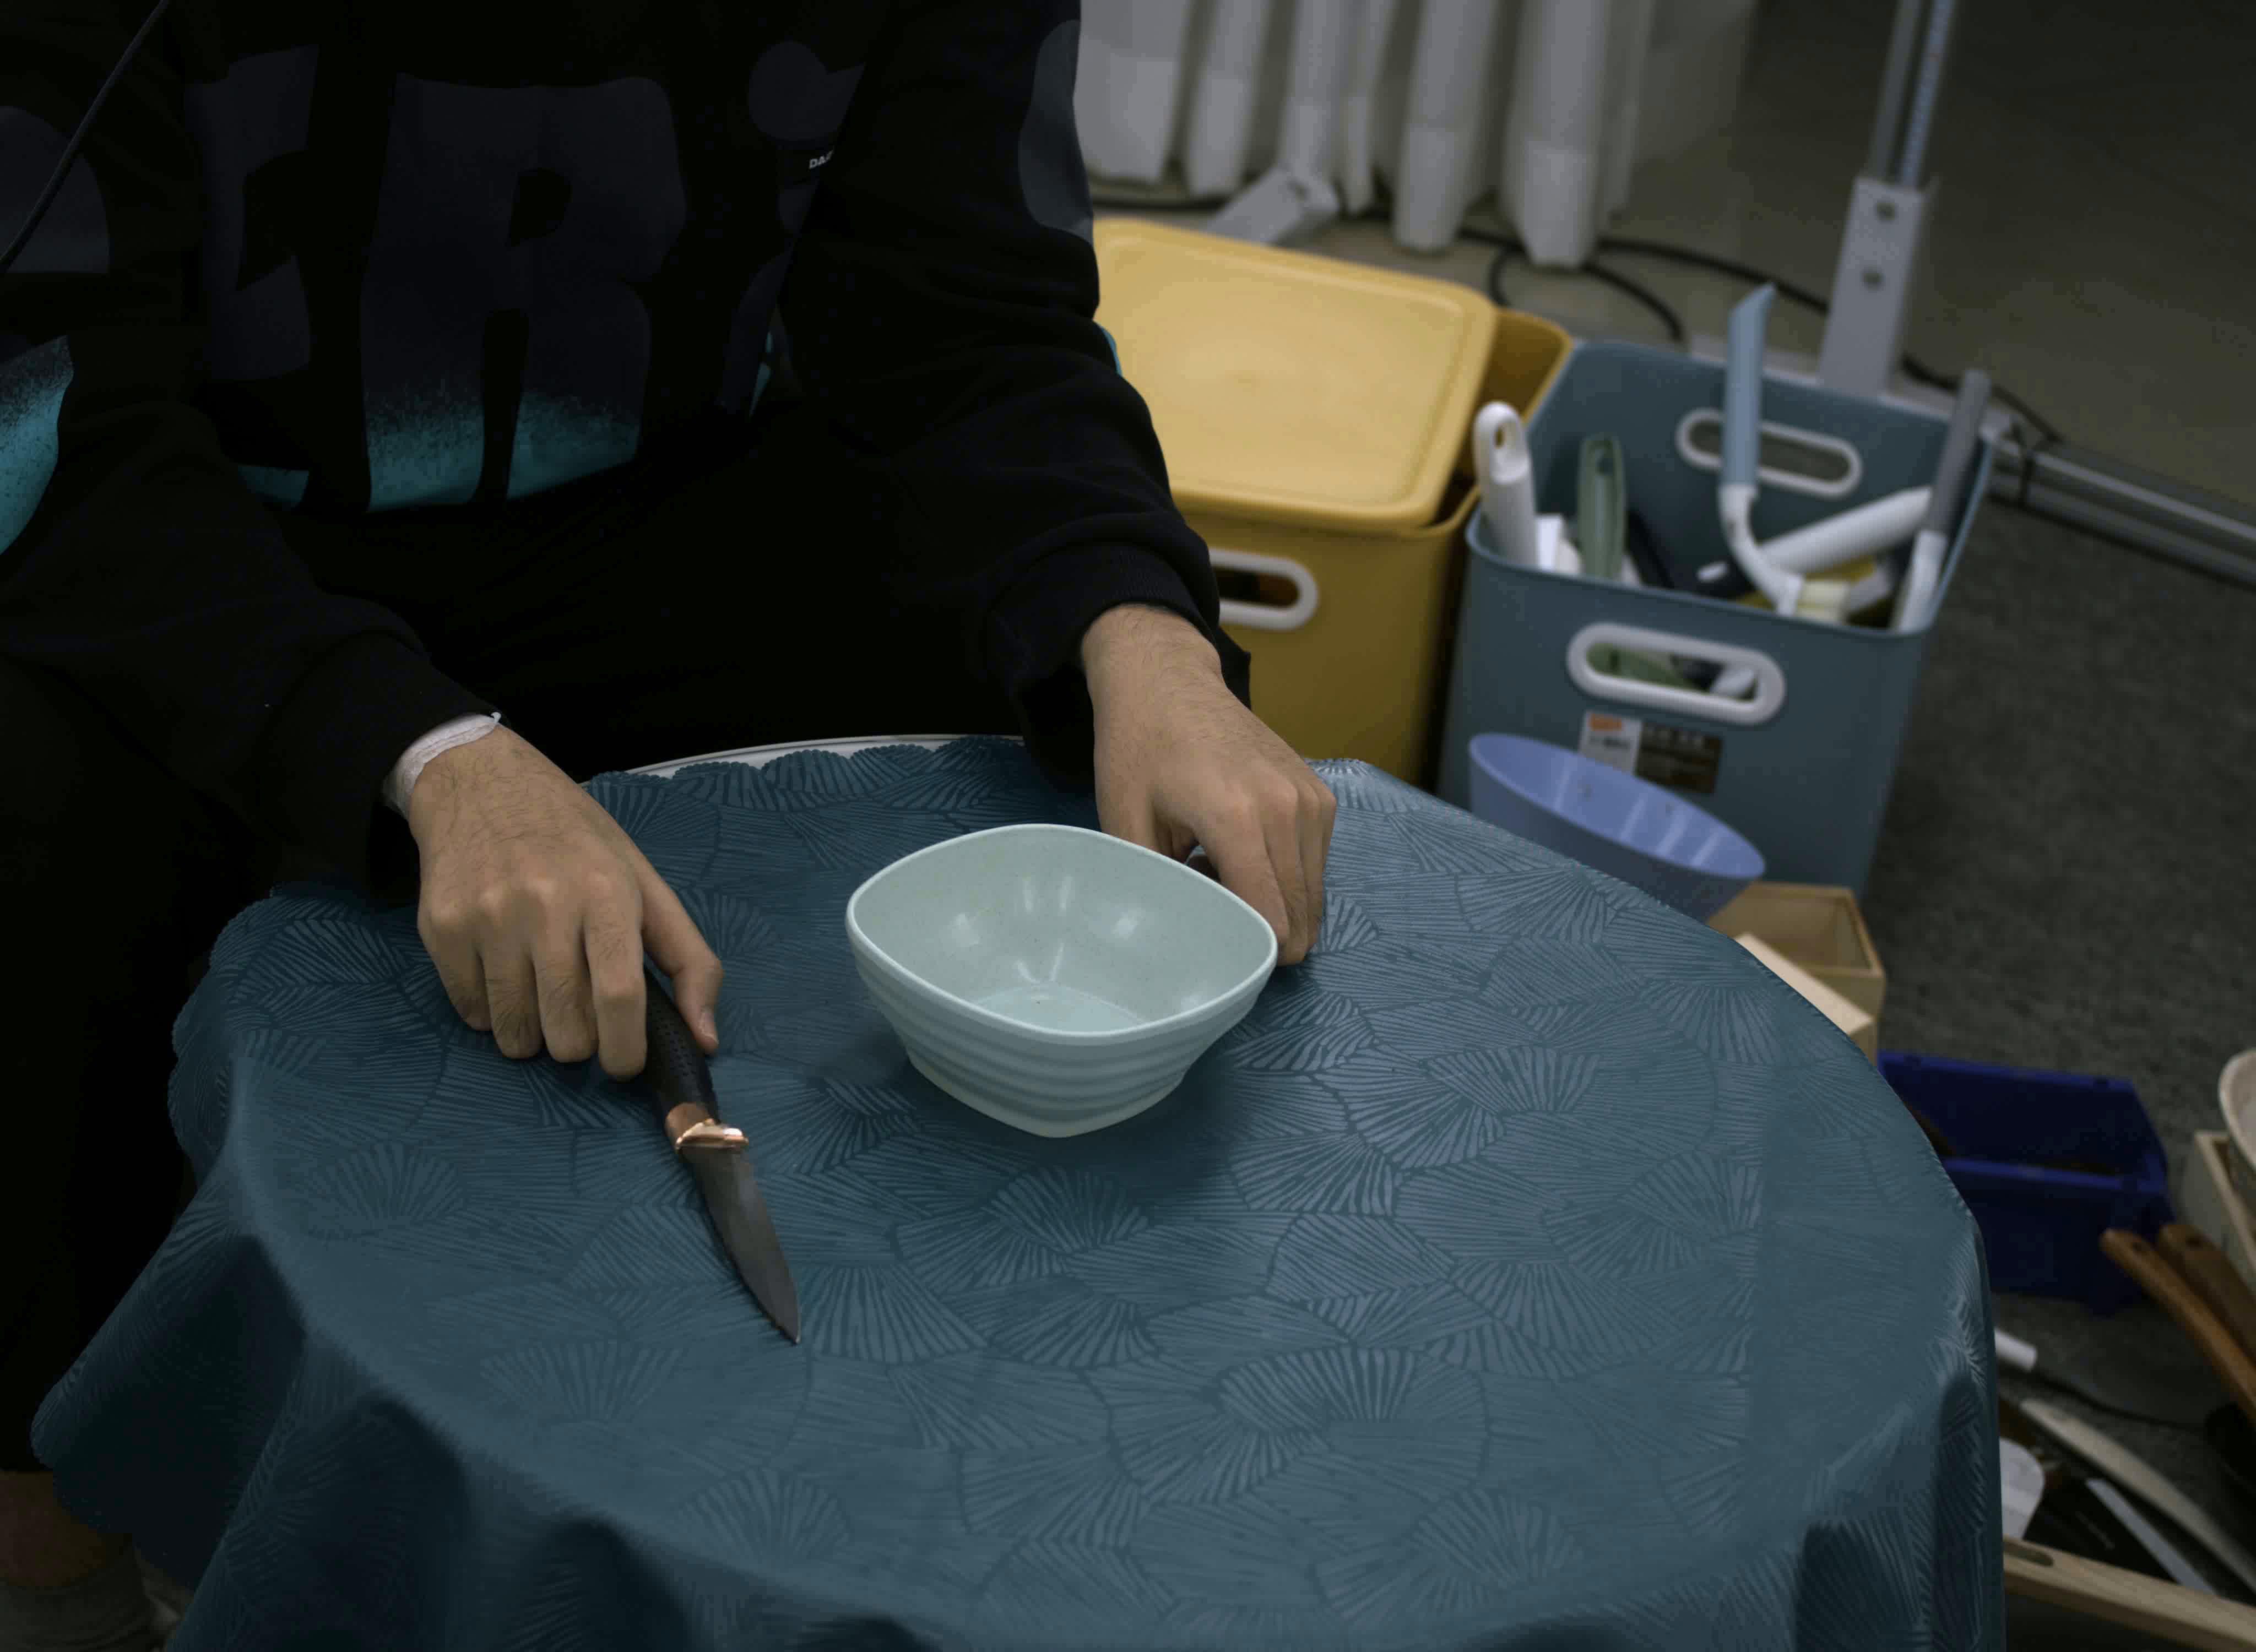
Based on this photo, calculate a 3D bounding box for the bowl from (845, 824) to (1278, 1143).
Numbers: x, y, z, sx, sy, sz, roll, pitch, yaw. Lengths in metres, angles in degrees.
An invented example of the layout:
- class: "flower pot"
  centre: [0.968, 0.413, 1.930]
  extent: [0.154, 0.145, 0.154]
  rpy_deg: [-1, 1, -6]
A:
- class: "bowl"
  centre: [-0.025, 0.061, 1.860]
  extent: [0.151, 0.058, 0.152]
  rpy_deg: [4, 28, -3]

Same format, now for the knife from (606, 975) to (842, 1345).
- class: "knife"
  centre: [-0.138, 0.110, 1.787]
  extent: [0.026, 0.017, 0.227]
  rpy_deg: [4, 27, -25]
